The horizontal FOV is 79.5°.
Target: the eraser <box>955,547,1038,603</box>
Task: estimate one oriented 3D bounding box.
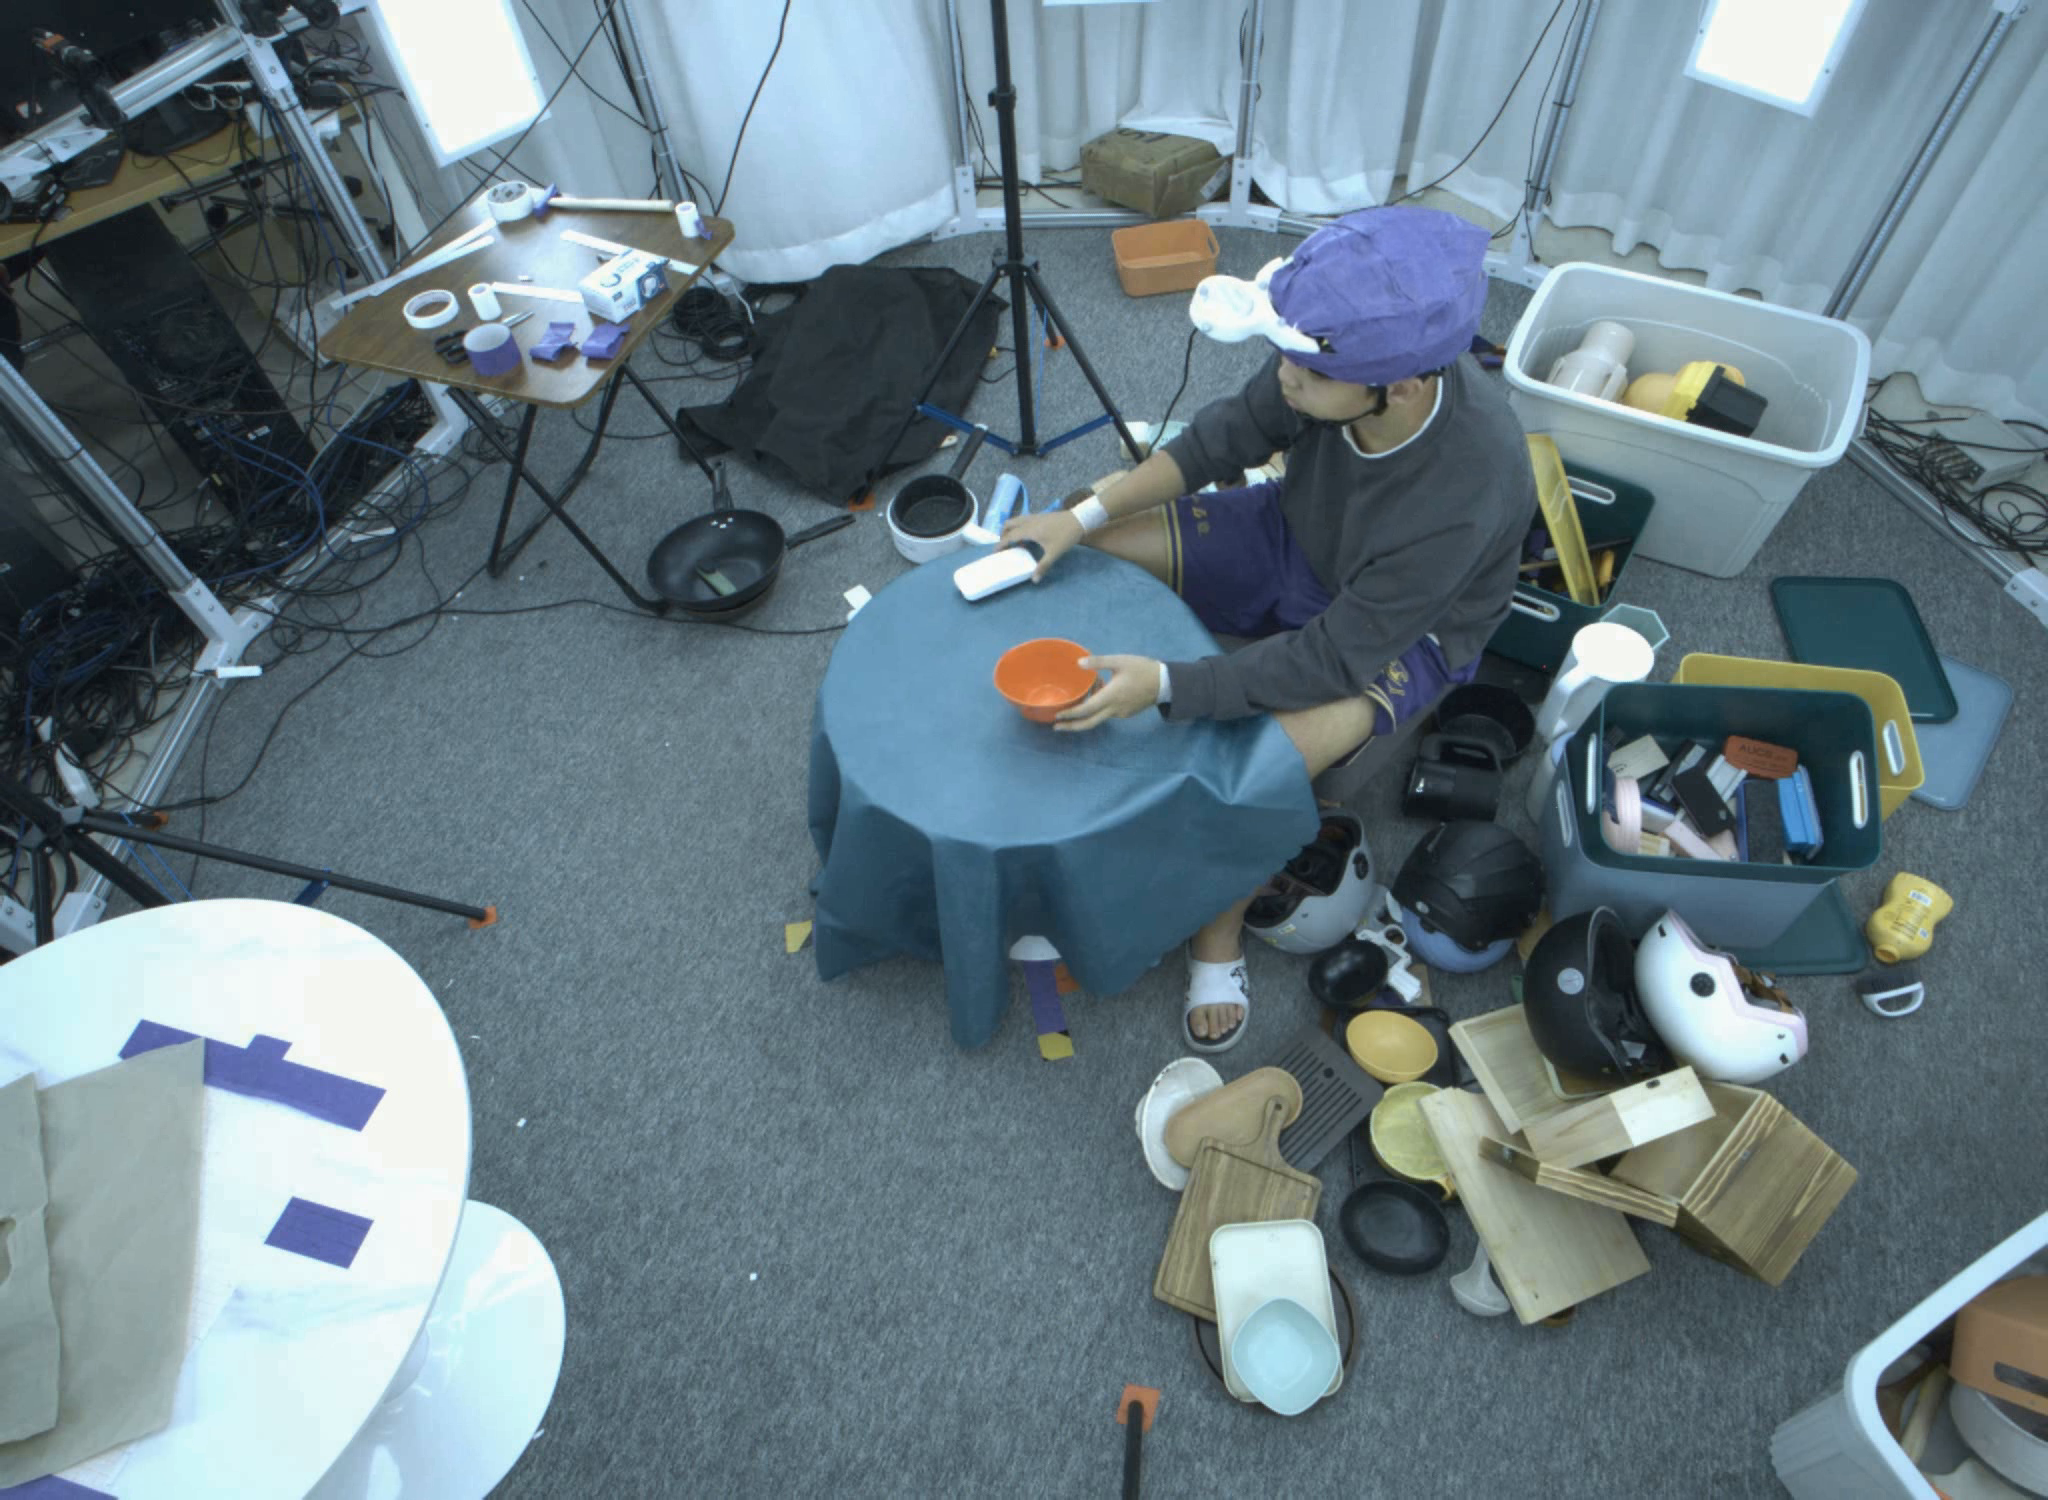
[{"bbox_3d":[-0.044,-0.282,1.972,0.132,0.035,0.062,-23,58,-12],"label":"eraser"}]

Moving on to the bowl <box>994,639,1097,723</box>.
[{"bbox_3d":[0.032,-0.087,1.789,0.148,0.106,0.146,-1,54,2],"label":"bowl"}]
